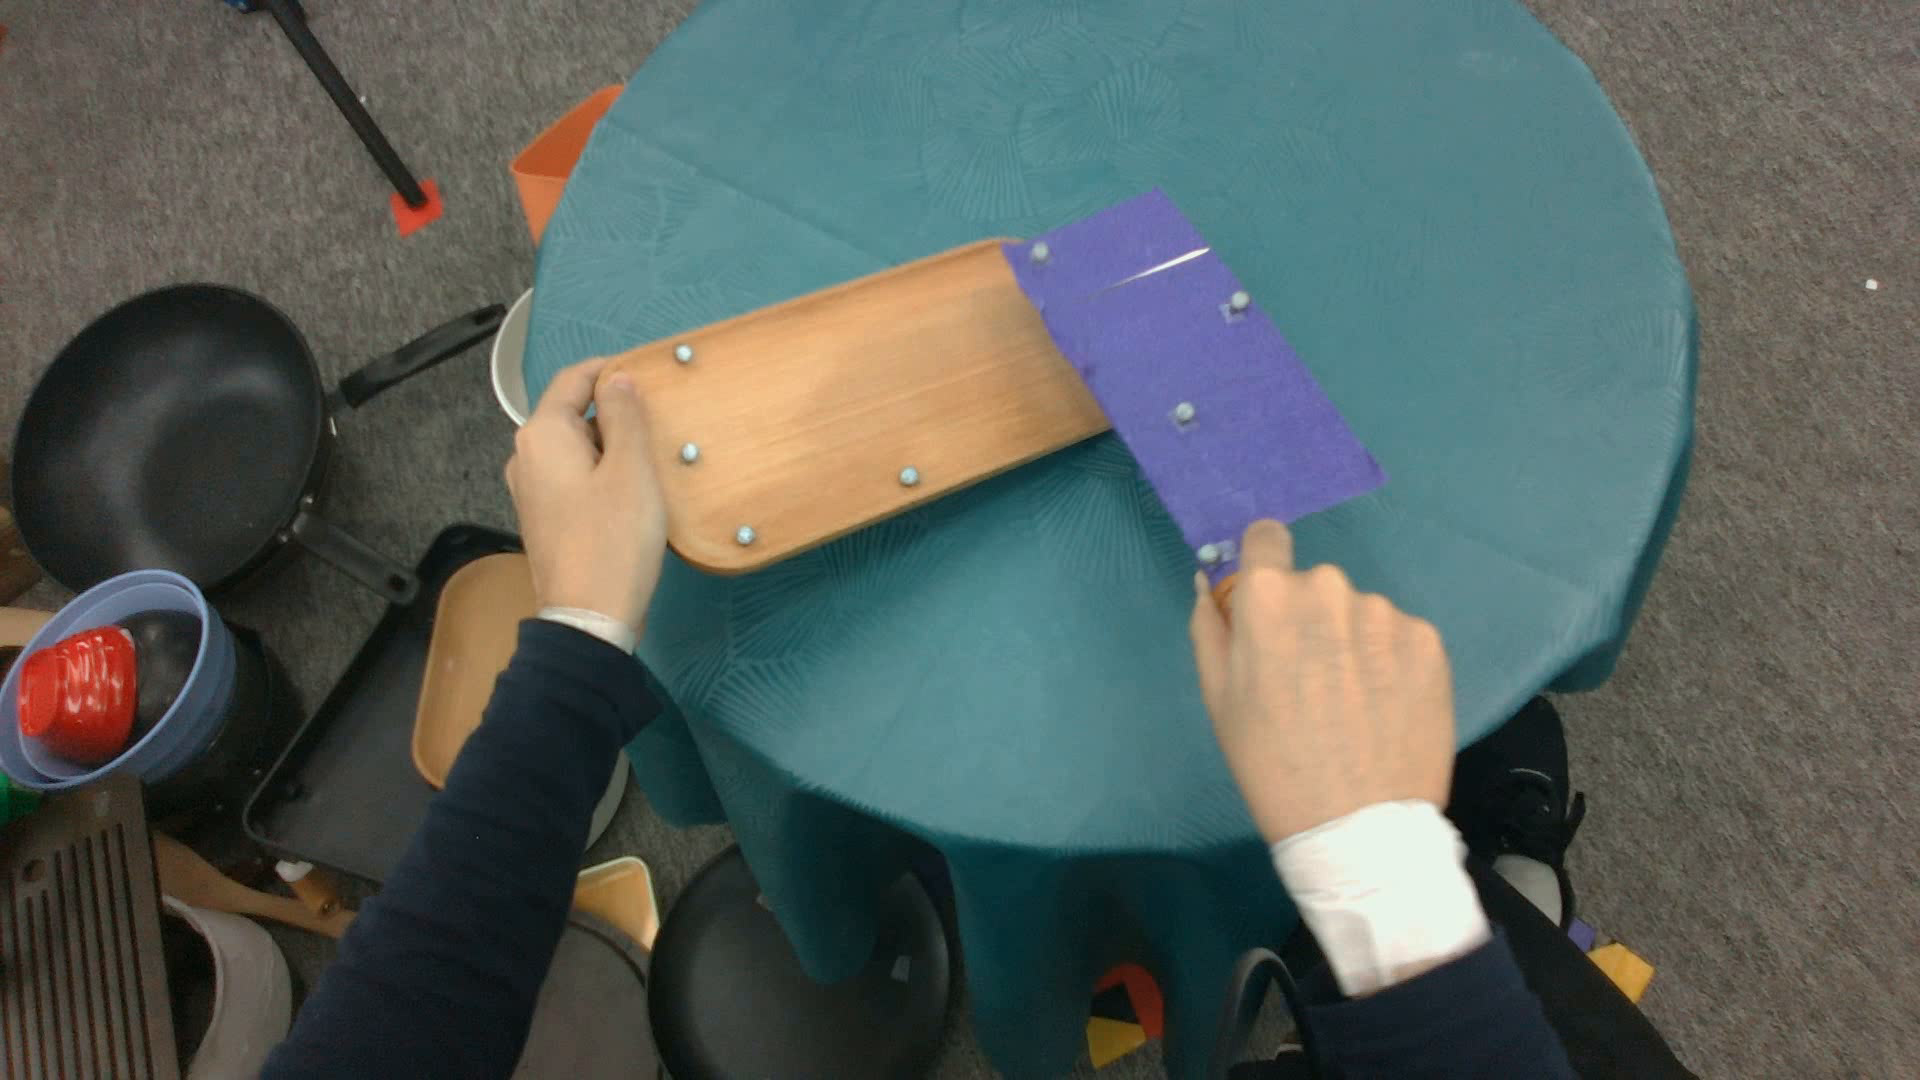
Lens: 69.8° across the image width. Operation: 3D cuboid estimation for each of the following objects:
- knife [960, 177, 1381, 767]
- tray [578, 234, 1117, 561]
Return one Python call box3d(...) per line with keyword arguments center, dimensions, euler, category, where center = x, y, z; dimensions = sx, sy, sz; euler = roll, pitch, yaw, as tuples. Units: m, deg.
box3d(center=(0.107, -0.053, 0.590), dimensions=(0.104, 0.032, 0.316), euler=(-23, 58, -8), category="knife")
box3d(center=(-0.046, -0.074, 0.656), dimensions=(0.251, 0.023, 0.131), euler=(-20, 66, -24), category="tray")
